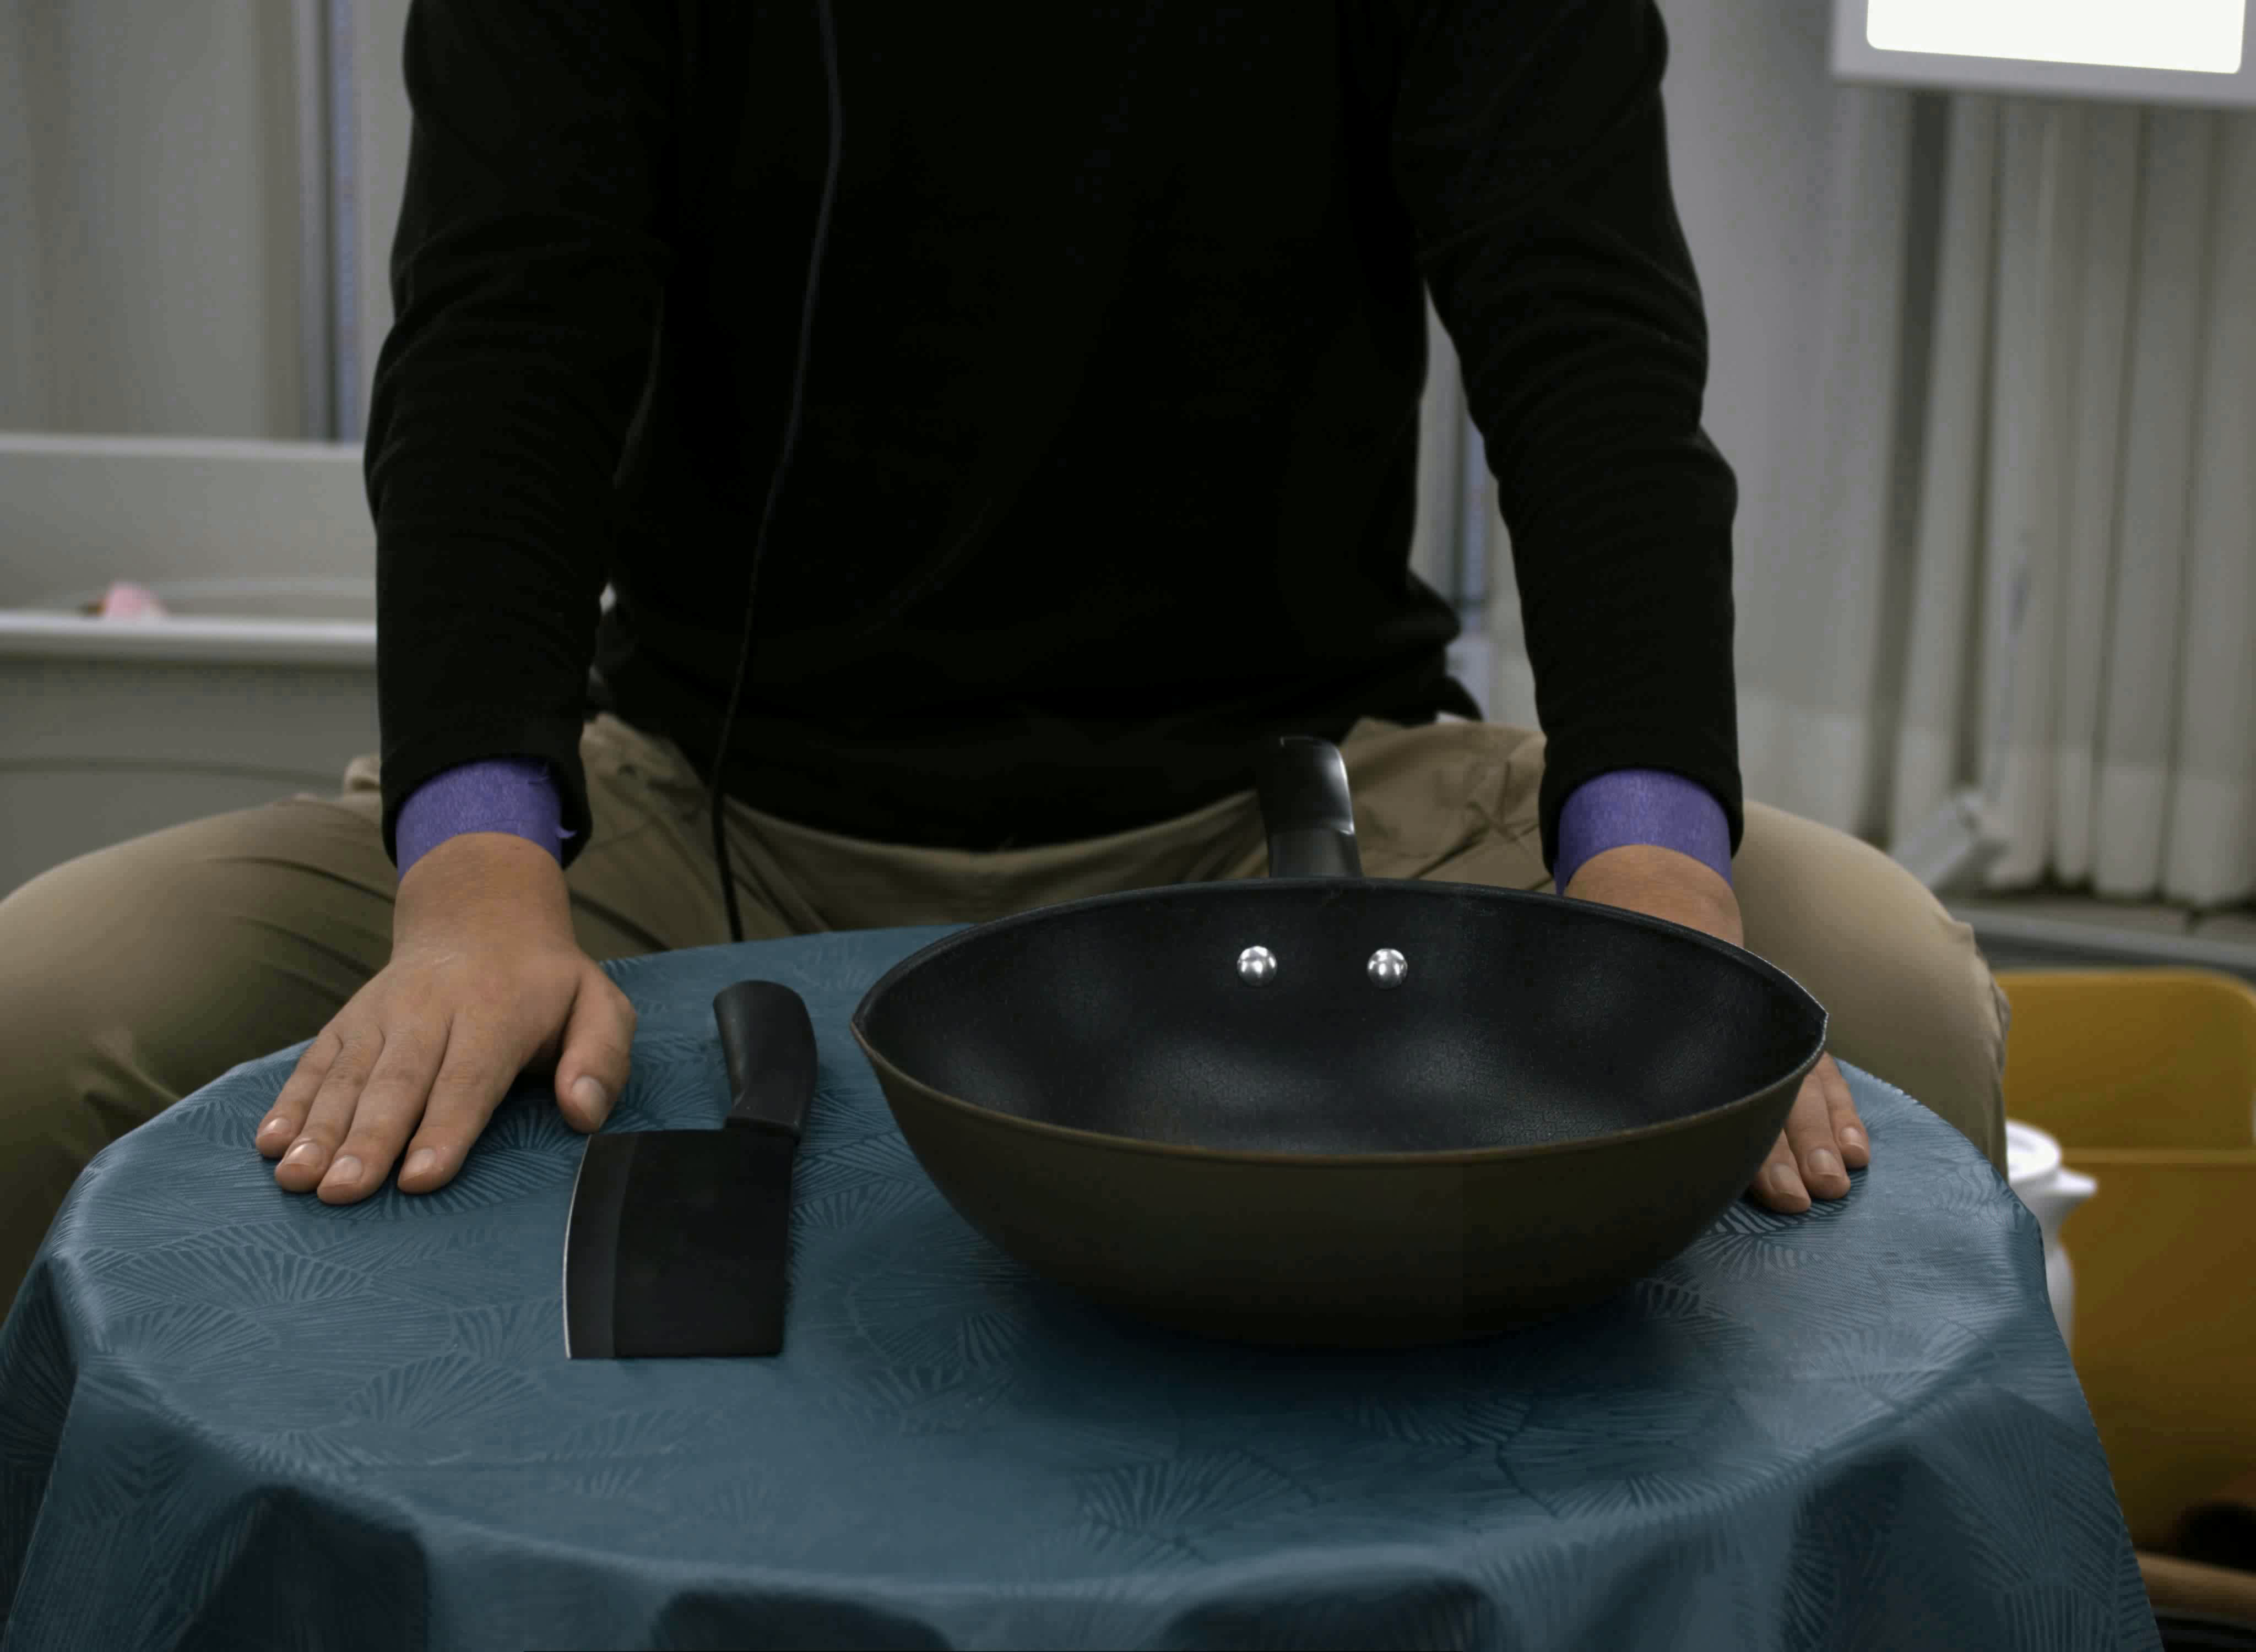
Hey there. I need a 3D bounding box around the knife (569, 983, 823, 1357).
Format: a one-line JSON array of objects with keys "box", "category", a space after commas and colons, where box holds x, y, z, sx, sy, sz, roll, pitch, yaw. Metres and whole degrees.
[{"box": [-0.130, 0.105, 1.621, 0.080, 0.021, 0.301, 1, 17, 3], "category": "knife"}]

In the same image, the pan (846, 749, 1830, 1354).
[{"box": [0.061, 0.067, 1.634, 0.287, 0.087, 0.461, 0, 15, 0], "category": "pan"}]
